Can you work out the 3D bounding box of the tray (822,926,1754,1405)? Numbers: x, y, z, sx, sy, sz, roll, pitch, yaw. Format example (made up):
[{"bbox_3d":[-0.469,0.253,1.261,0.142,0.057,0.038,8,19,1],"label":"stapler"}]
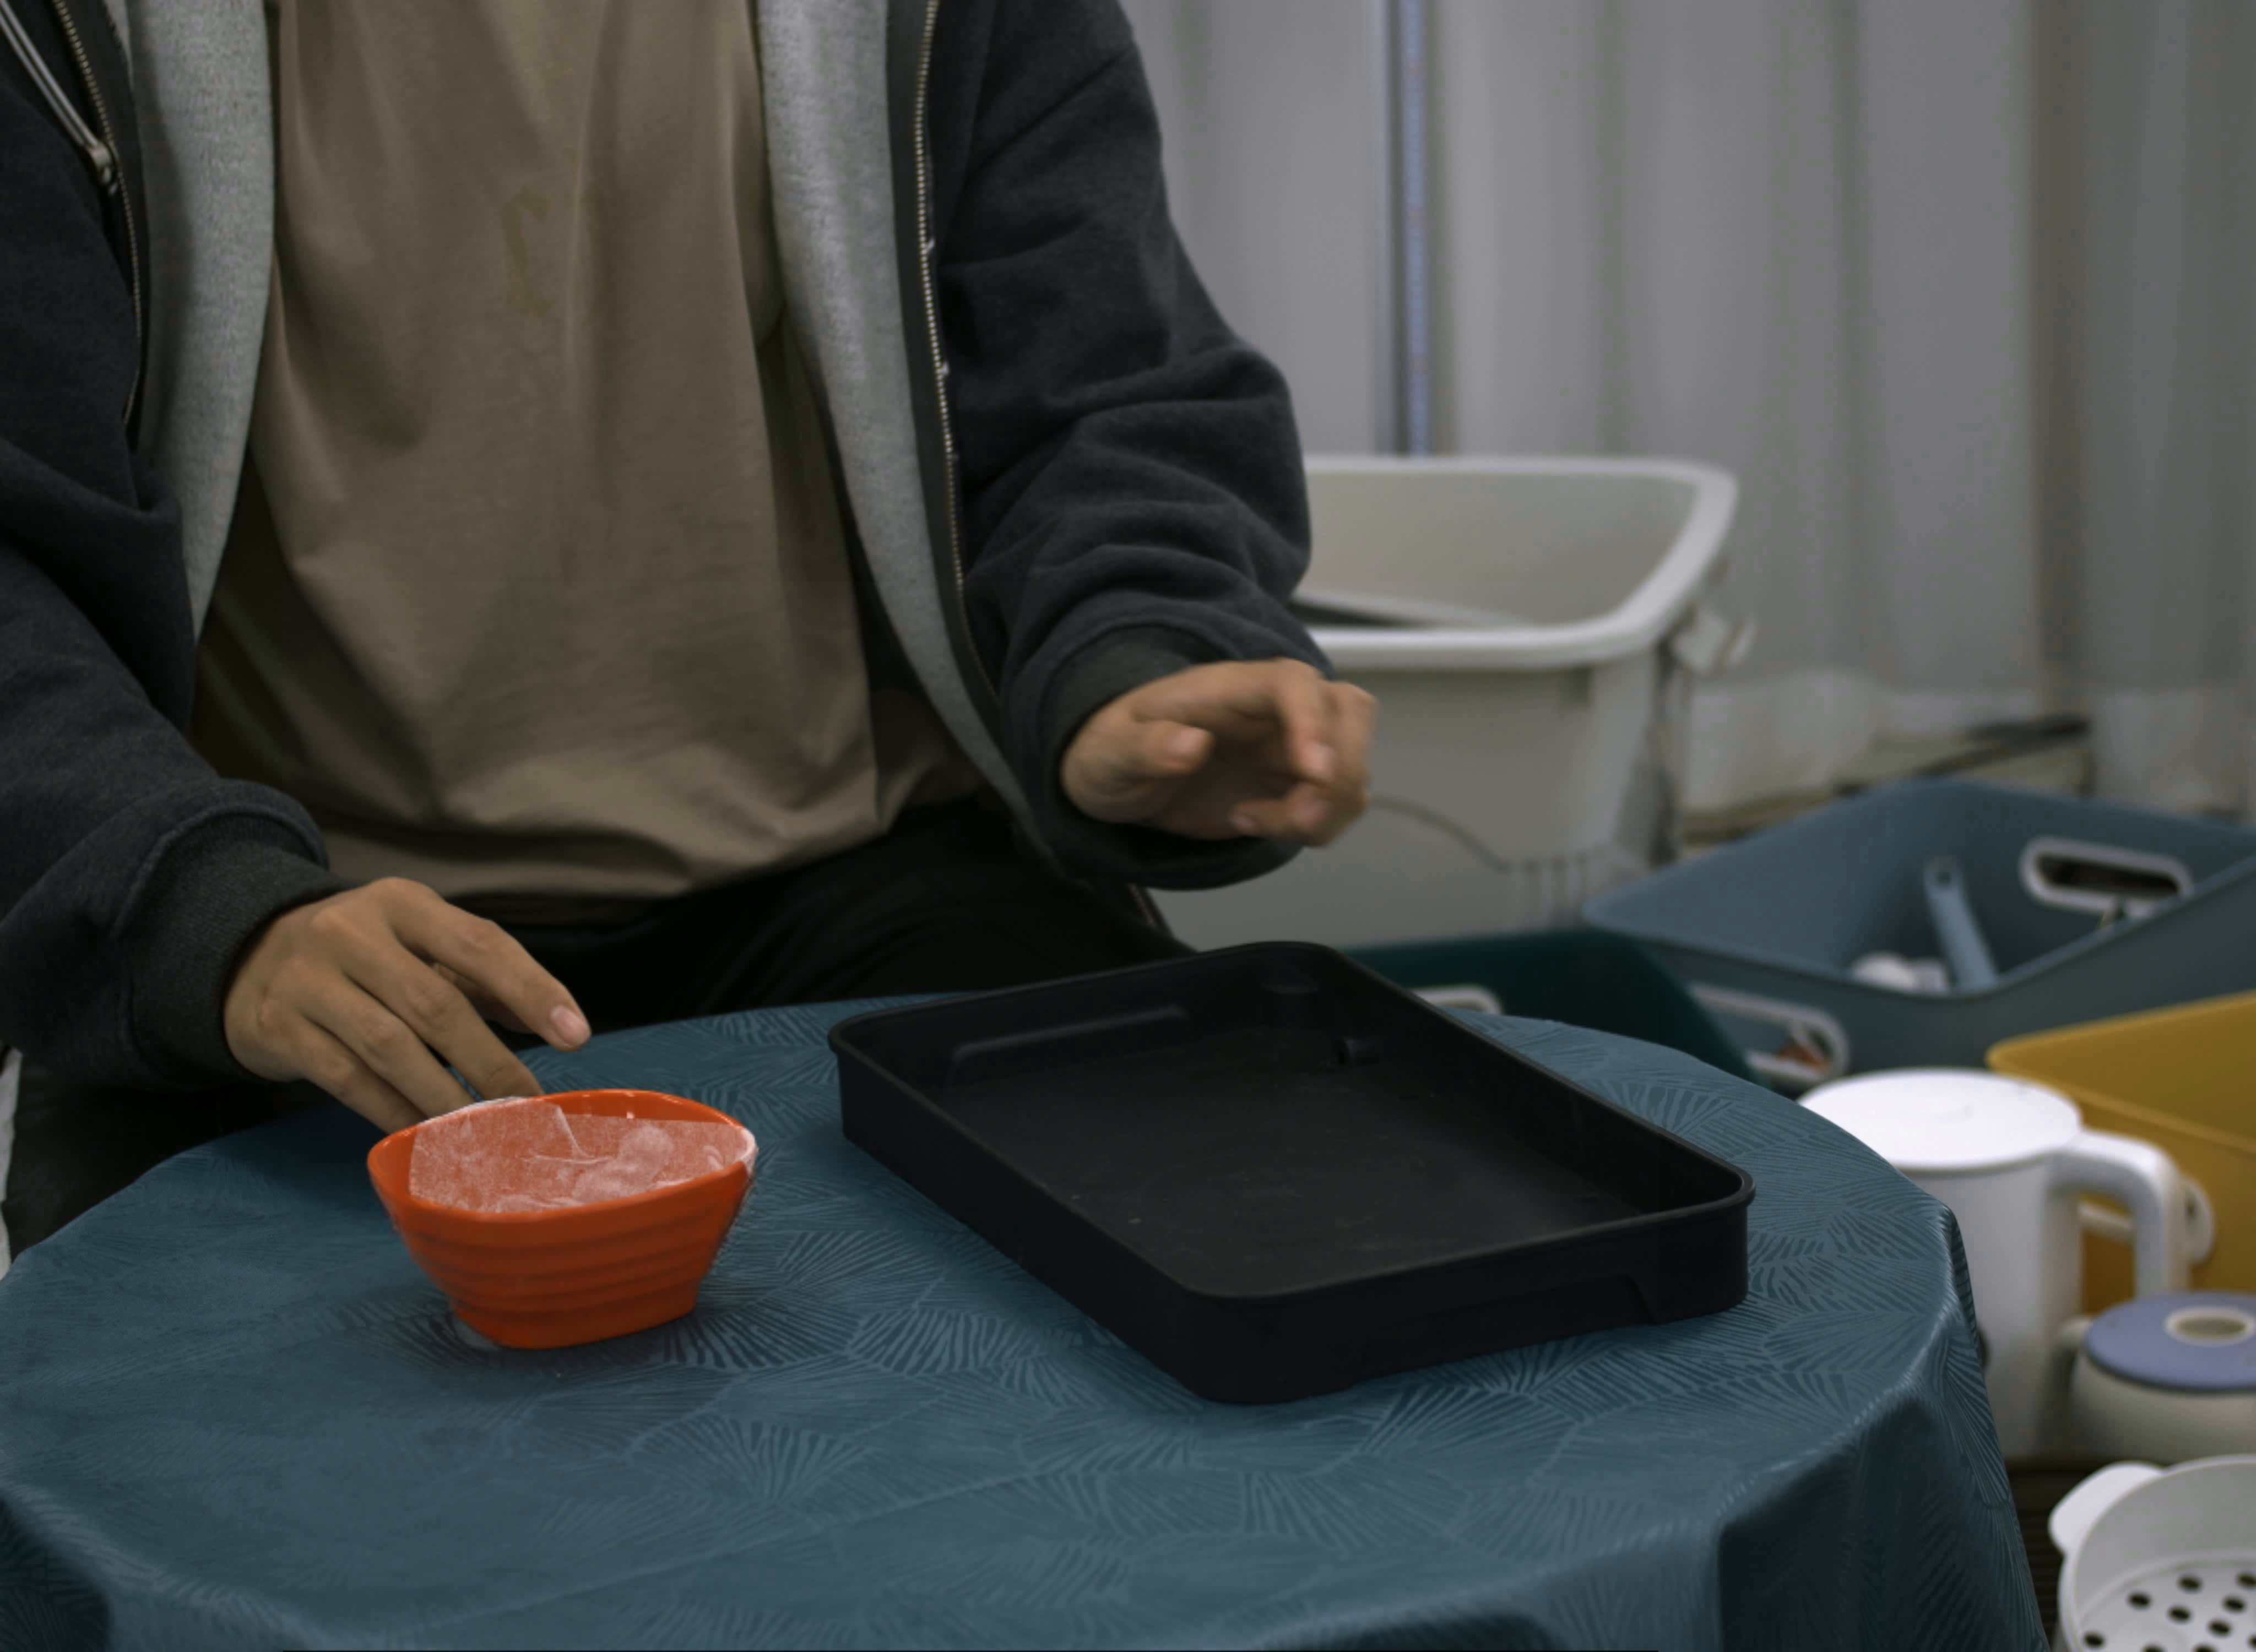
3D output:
[{"bbox_3d":[0.042,0.099,1.691,0.183,0.037,0.320,-9,17,-22],"label":"tray"}]

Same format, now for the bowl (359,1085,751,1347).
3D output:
[{"bbox_3d":[-0.169,0.118,1.631,0.118,0.051,0.120,-2,15,0],"label":"bowl"}]
